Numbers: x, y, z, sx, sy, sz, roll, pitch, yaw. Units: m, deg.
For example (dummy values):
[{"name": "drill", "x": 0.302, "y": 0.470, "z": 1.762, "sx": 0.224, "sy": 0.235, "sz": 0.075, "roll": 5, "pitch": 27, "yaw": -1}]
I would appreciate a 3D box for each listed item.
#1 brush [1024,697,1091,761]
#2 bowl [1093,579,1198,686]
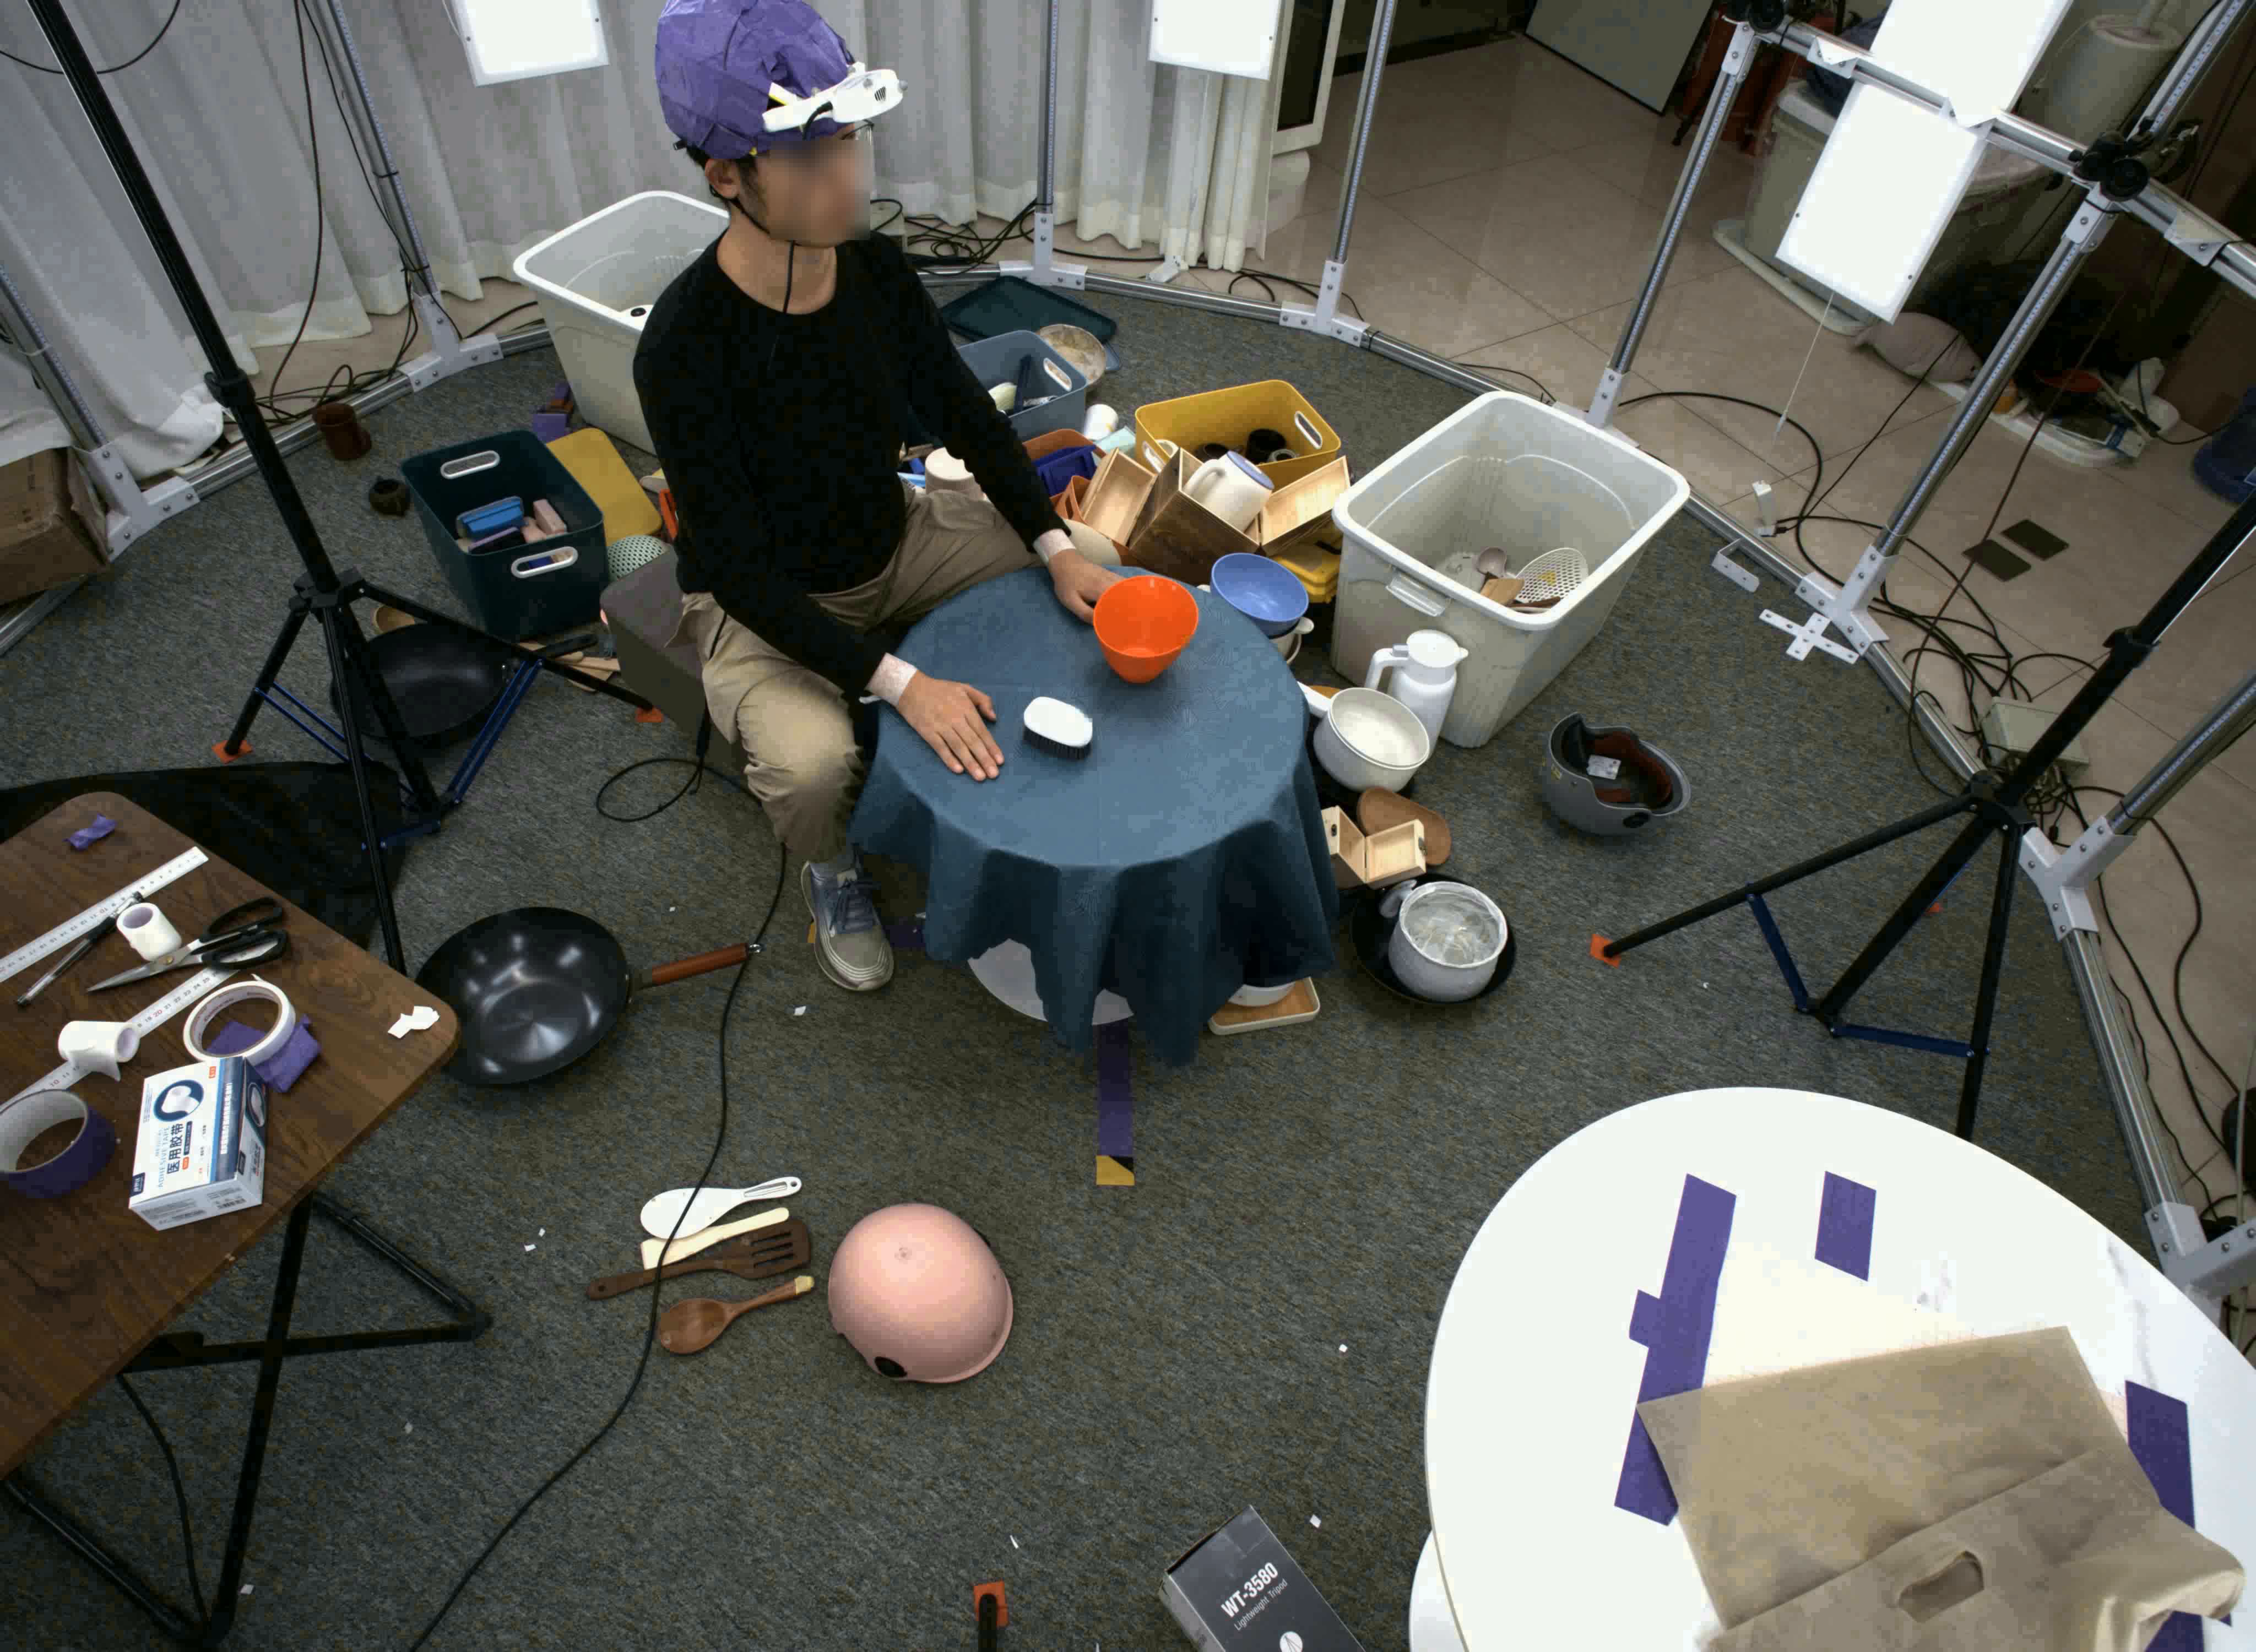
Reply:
[{"name": "brush", "x": -0.096, "y": -0.140, "z": 1.737, "sx": 0.100, "sy": 0.071, "sz": 0.051, "roll": 25, "pitch": 53, "yaw": 17}, {"name": "bowl", "x": 0.023, "y": -0.267, "z": 1.841, "sx": 0.148, "sy": 0.102, "sz": 0.152, "roll": 1, "pitch": 49, "yaw": -1}]
